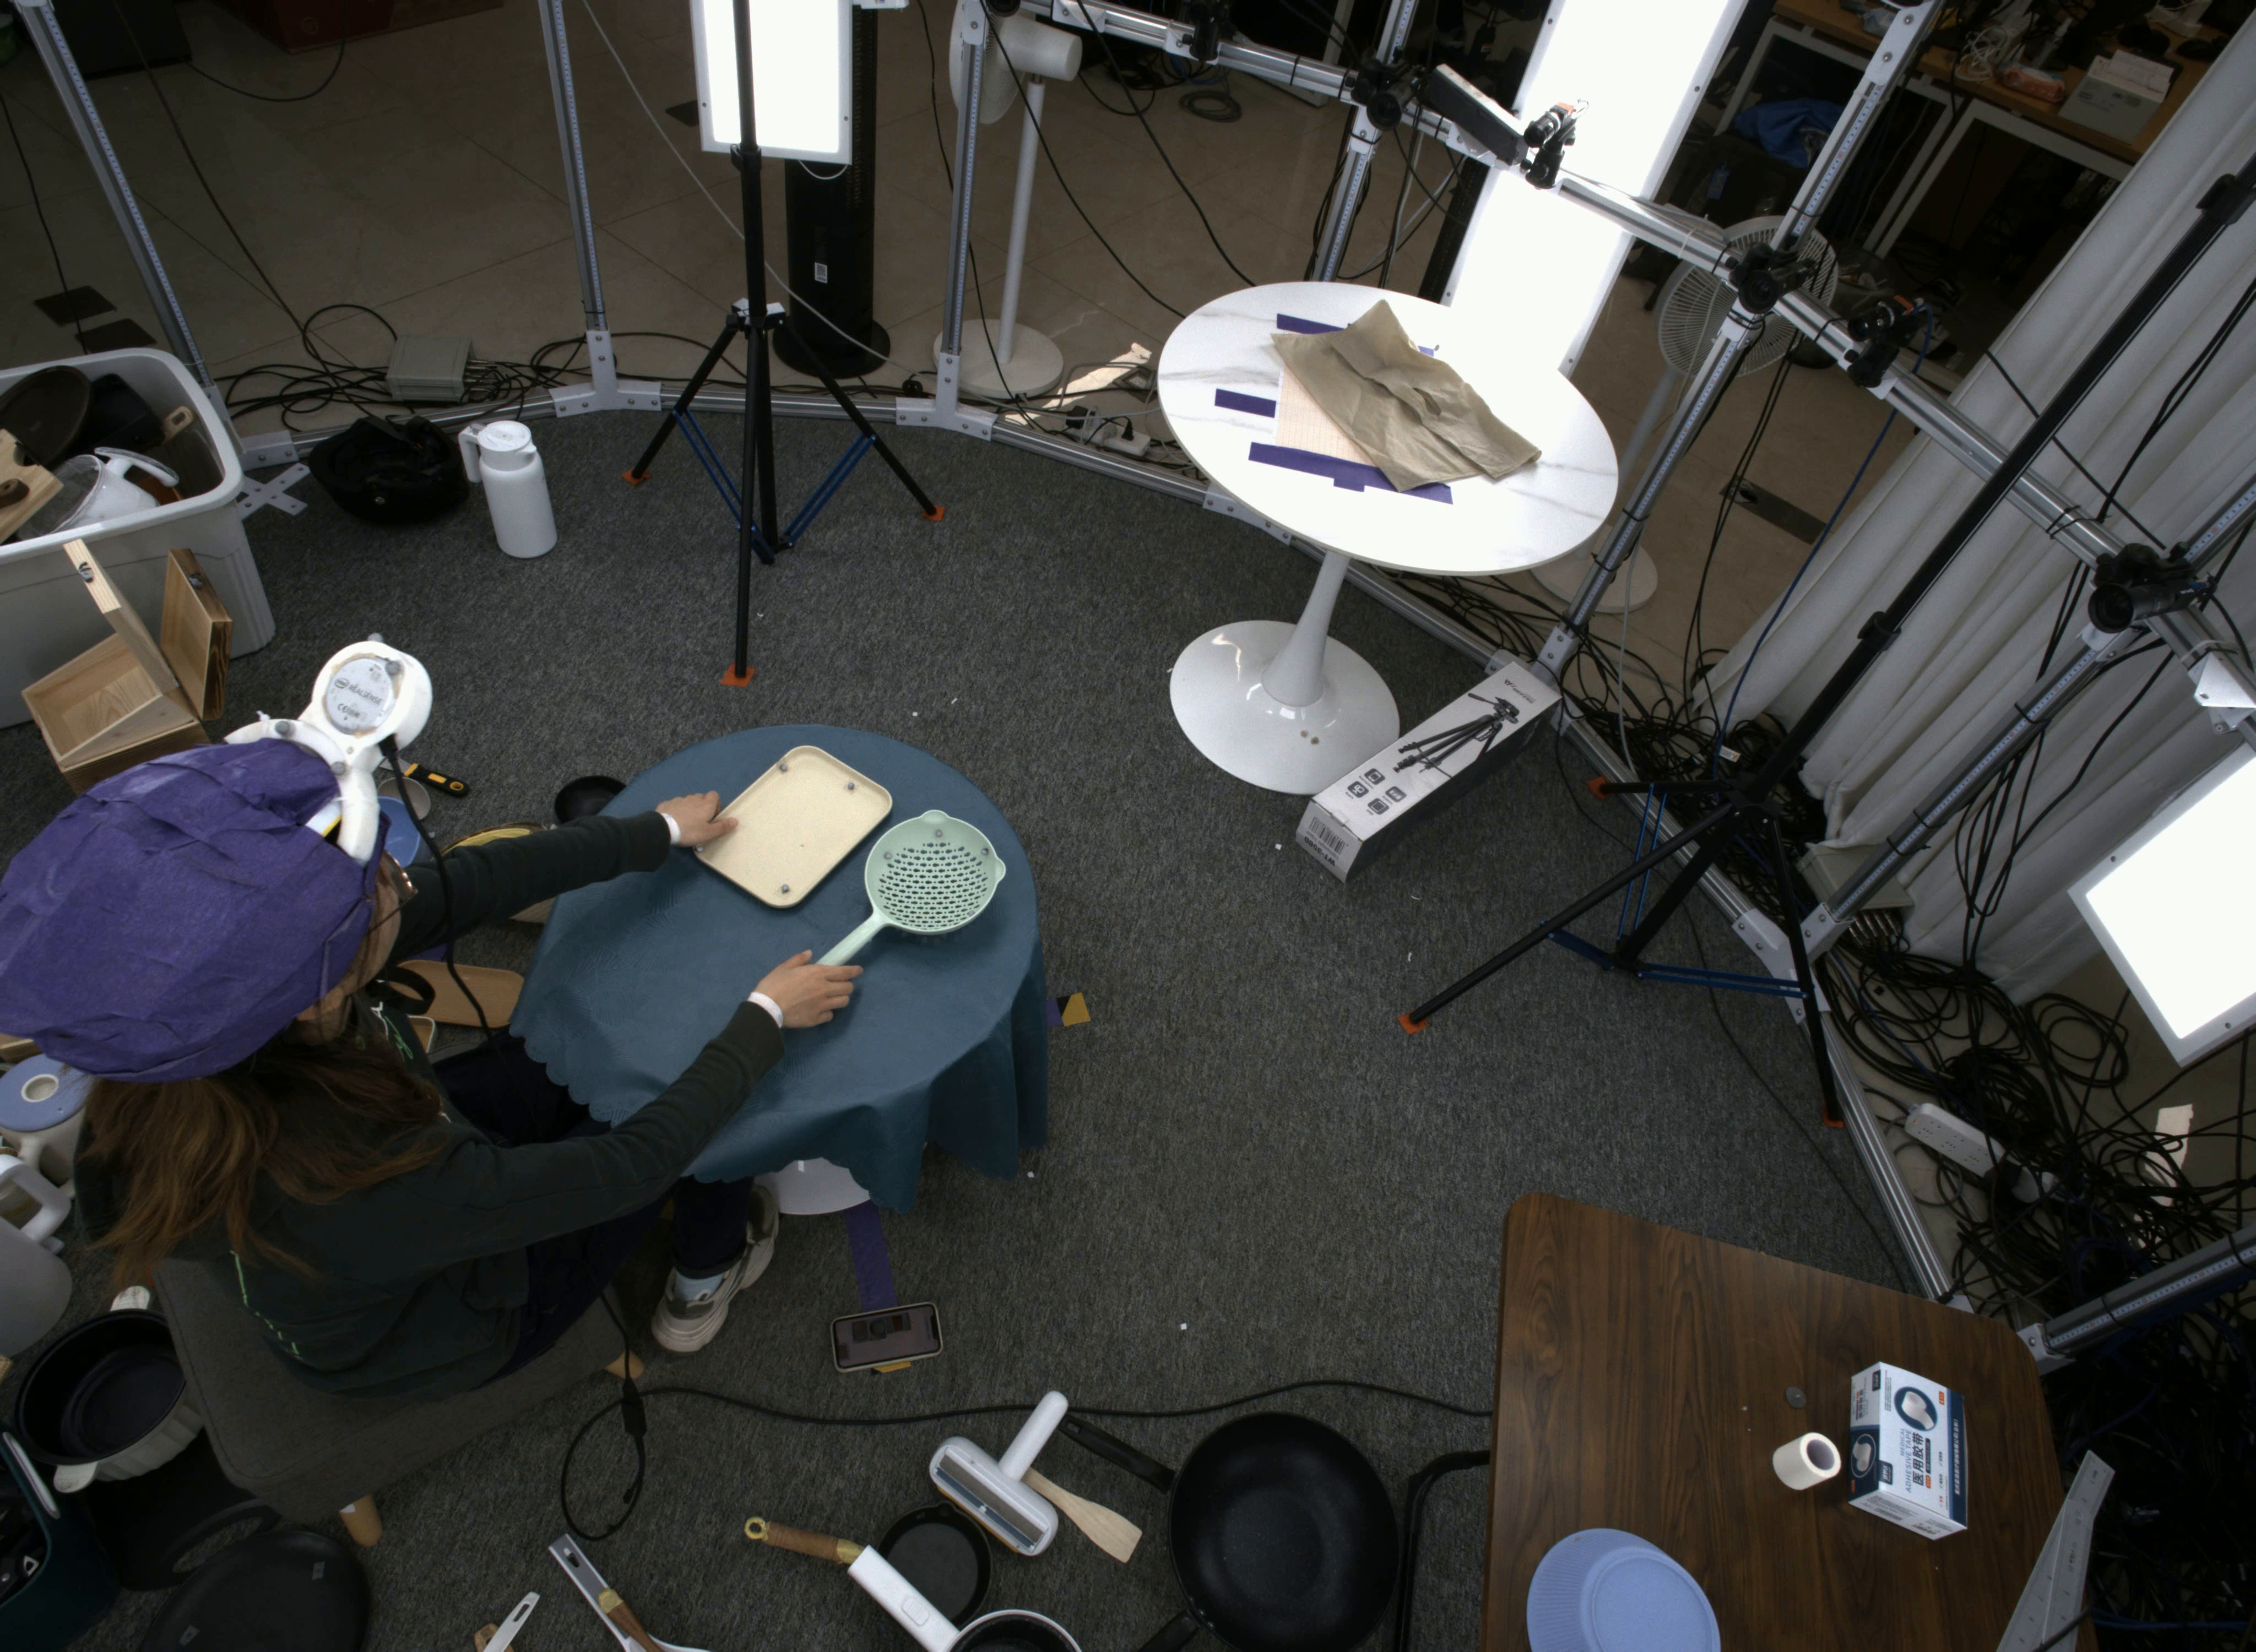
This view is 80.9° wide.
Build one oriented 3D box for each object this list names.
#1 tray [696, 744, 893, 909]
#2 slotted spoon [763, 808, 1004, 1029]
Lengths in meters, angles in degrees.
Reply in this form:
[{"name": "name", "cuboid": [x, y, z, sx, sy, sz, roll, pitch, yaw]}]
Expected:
[{"name": "tray", "cuboid": [-0.439, -0.002, 1.717, 0.168, 0.018, 0.239, 31, 54, 10]}, {"name": "slotted spoon", "cuboid": [-0.315, 0.122, 1.626, 0.165, 0.077, 0.359, 39, 55, 17]}]
